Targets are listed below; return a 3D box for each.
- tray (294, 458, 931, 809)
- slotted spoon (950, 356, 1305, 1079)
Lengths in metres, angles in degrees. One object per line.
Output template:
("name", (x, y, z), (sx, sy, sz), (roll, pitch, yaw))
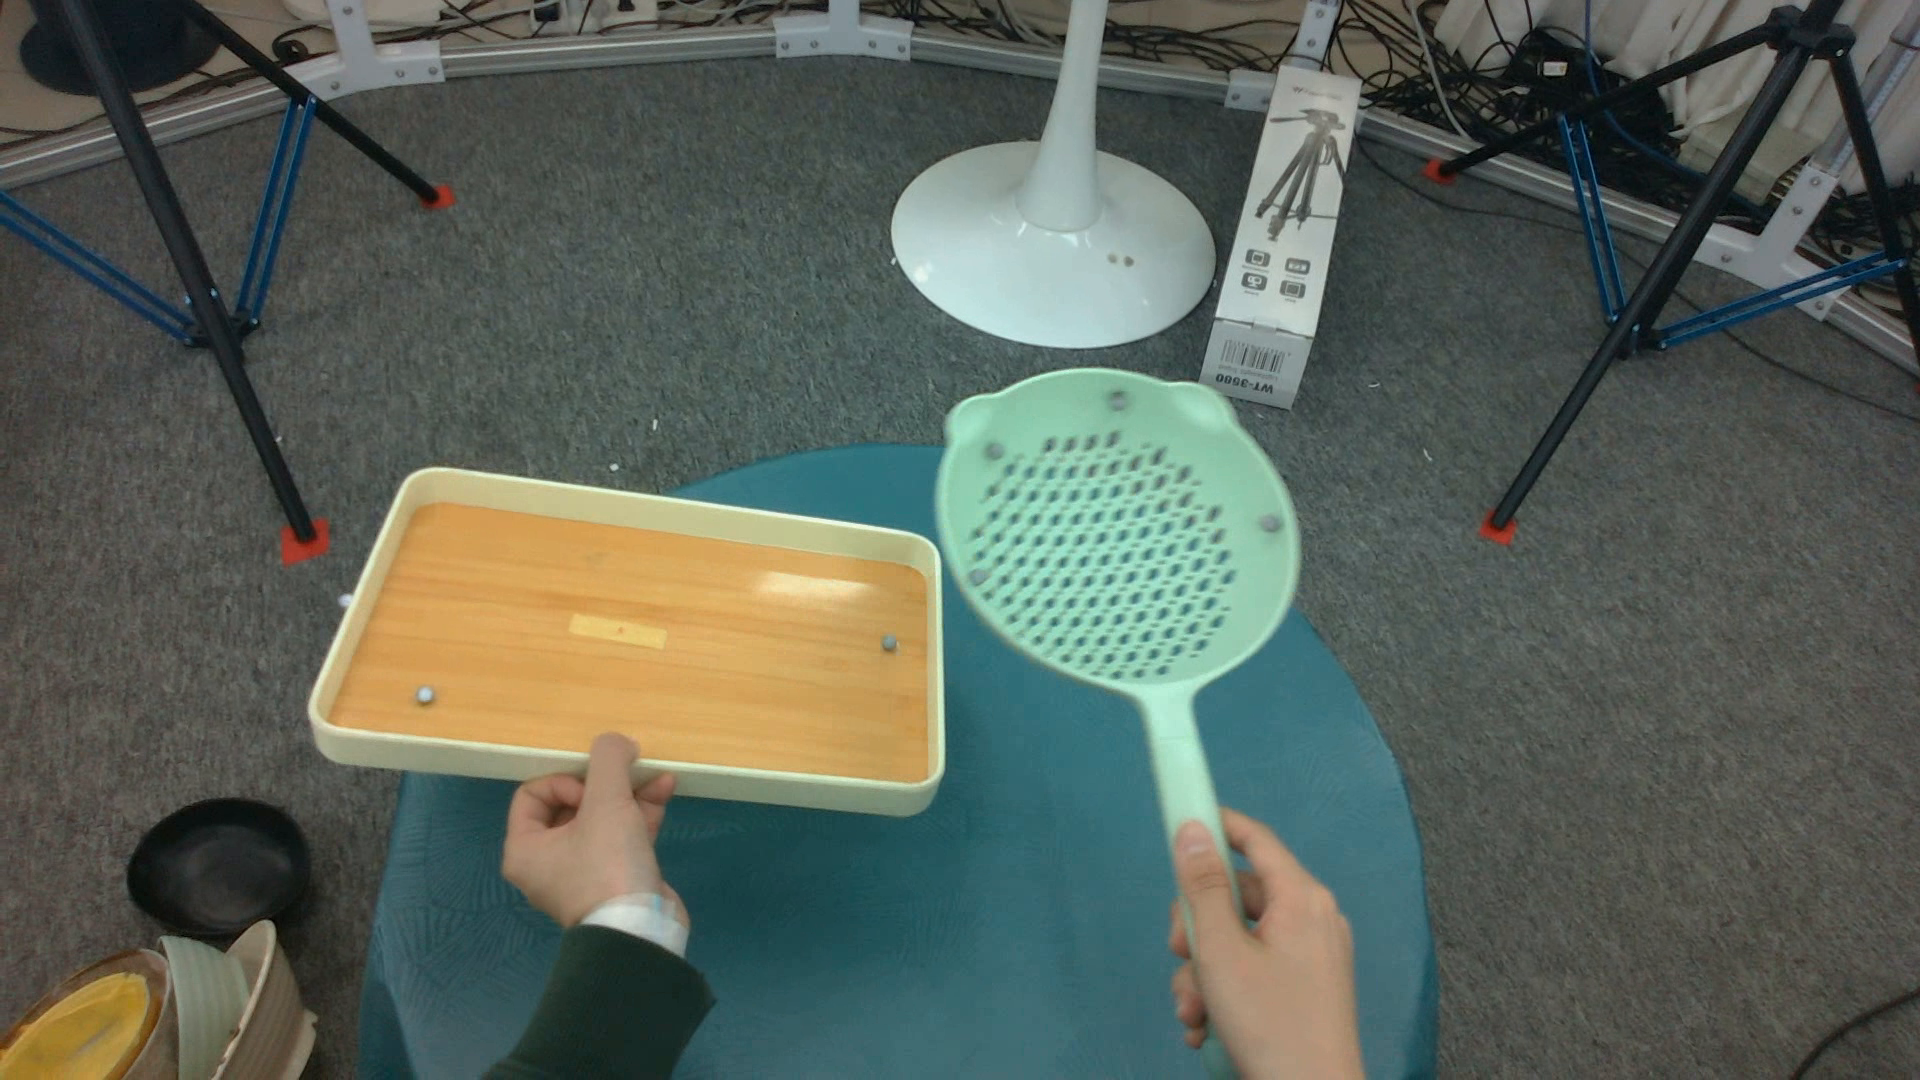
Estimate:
("tray", (-0.165, 0.045, 0.725), (0.300, 0.027, 0.192), (8, 42, -9))
("slotted spoon", (0.089, 0.076, 0.604), (0.169, 0.075, 0.360), (-3, 55, -10))
